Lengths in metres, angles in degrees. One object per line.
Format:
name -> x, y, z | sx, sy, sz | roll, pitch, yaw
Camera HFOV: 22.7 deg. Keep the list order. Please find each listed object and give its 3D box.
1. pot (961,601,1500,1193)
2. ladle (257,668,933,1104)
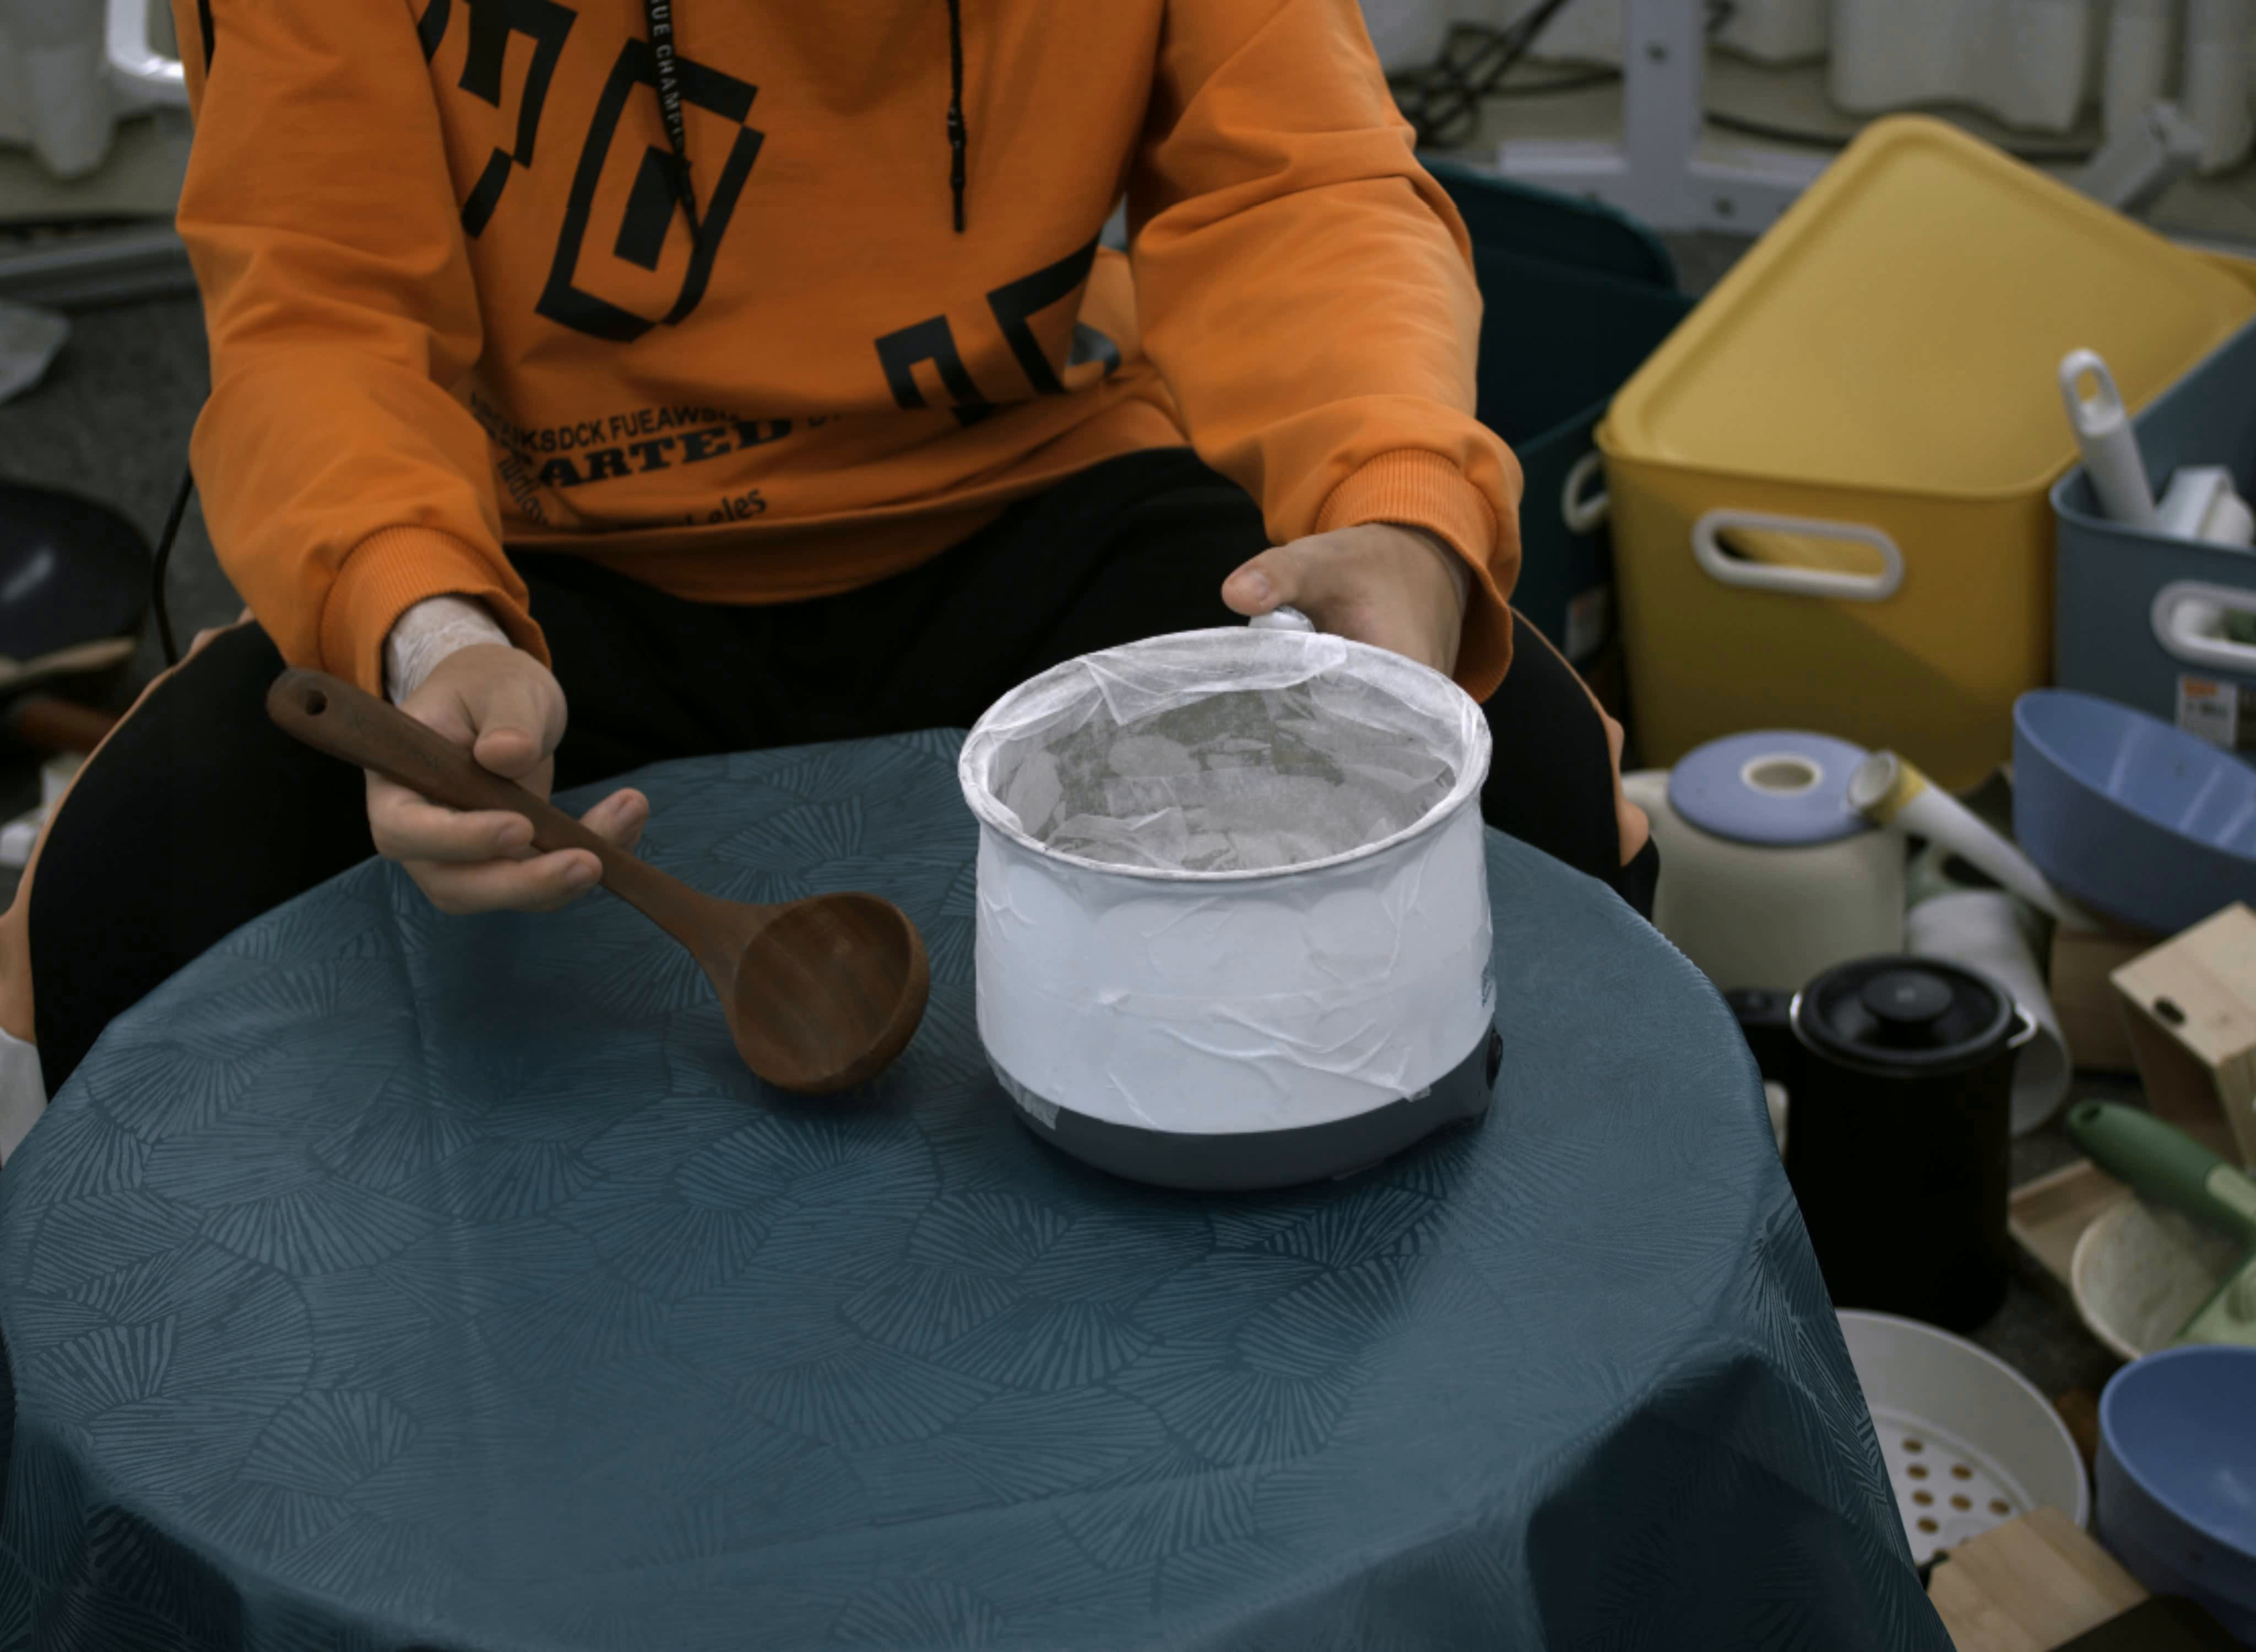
pot -> 0.040, 0.017, 1.912 | 0.177, 0.135, 0.238 | 2, 28, 9
ladle -> -0.185, 0.011, 1.927 | 0.259, 0.064, 0.077 | 31, 71, 1
